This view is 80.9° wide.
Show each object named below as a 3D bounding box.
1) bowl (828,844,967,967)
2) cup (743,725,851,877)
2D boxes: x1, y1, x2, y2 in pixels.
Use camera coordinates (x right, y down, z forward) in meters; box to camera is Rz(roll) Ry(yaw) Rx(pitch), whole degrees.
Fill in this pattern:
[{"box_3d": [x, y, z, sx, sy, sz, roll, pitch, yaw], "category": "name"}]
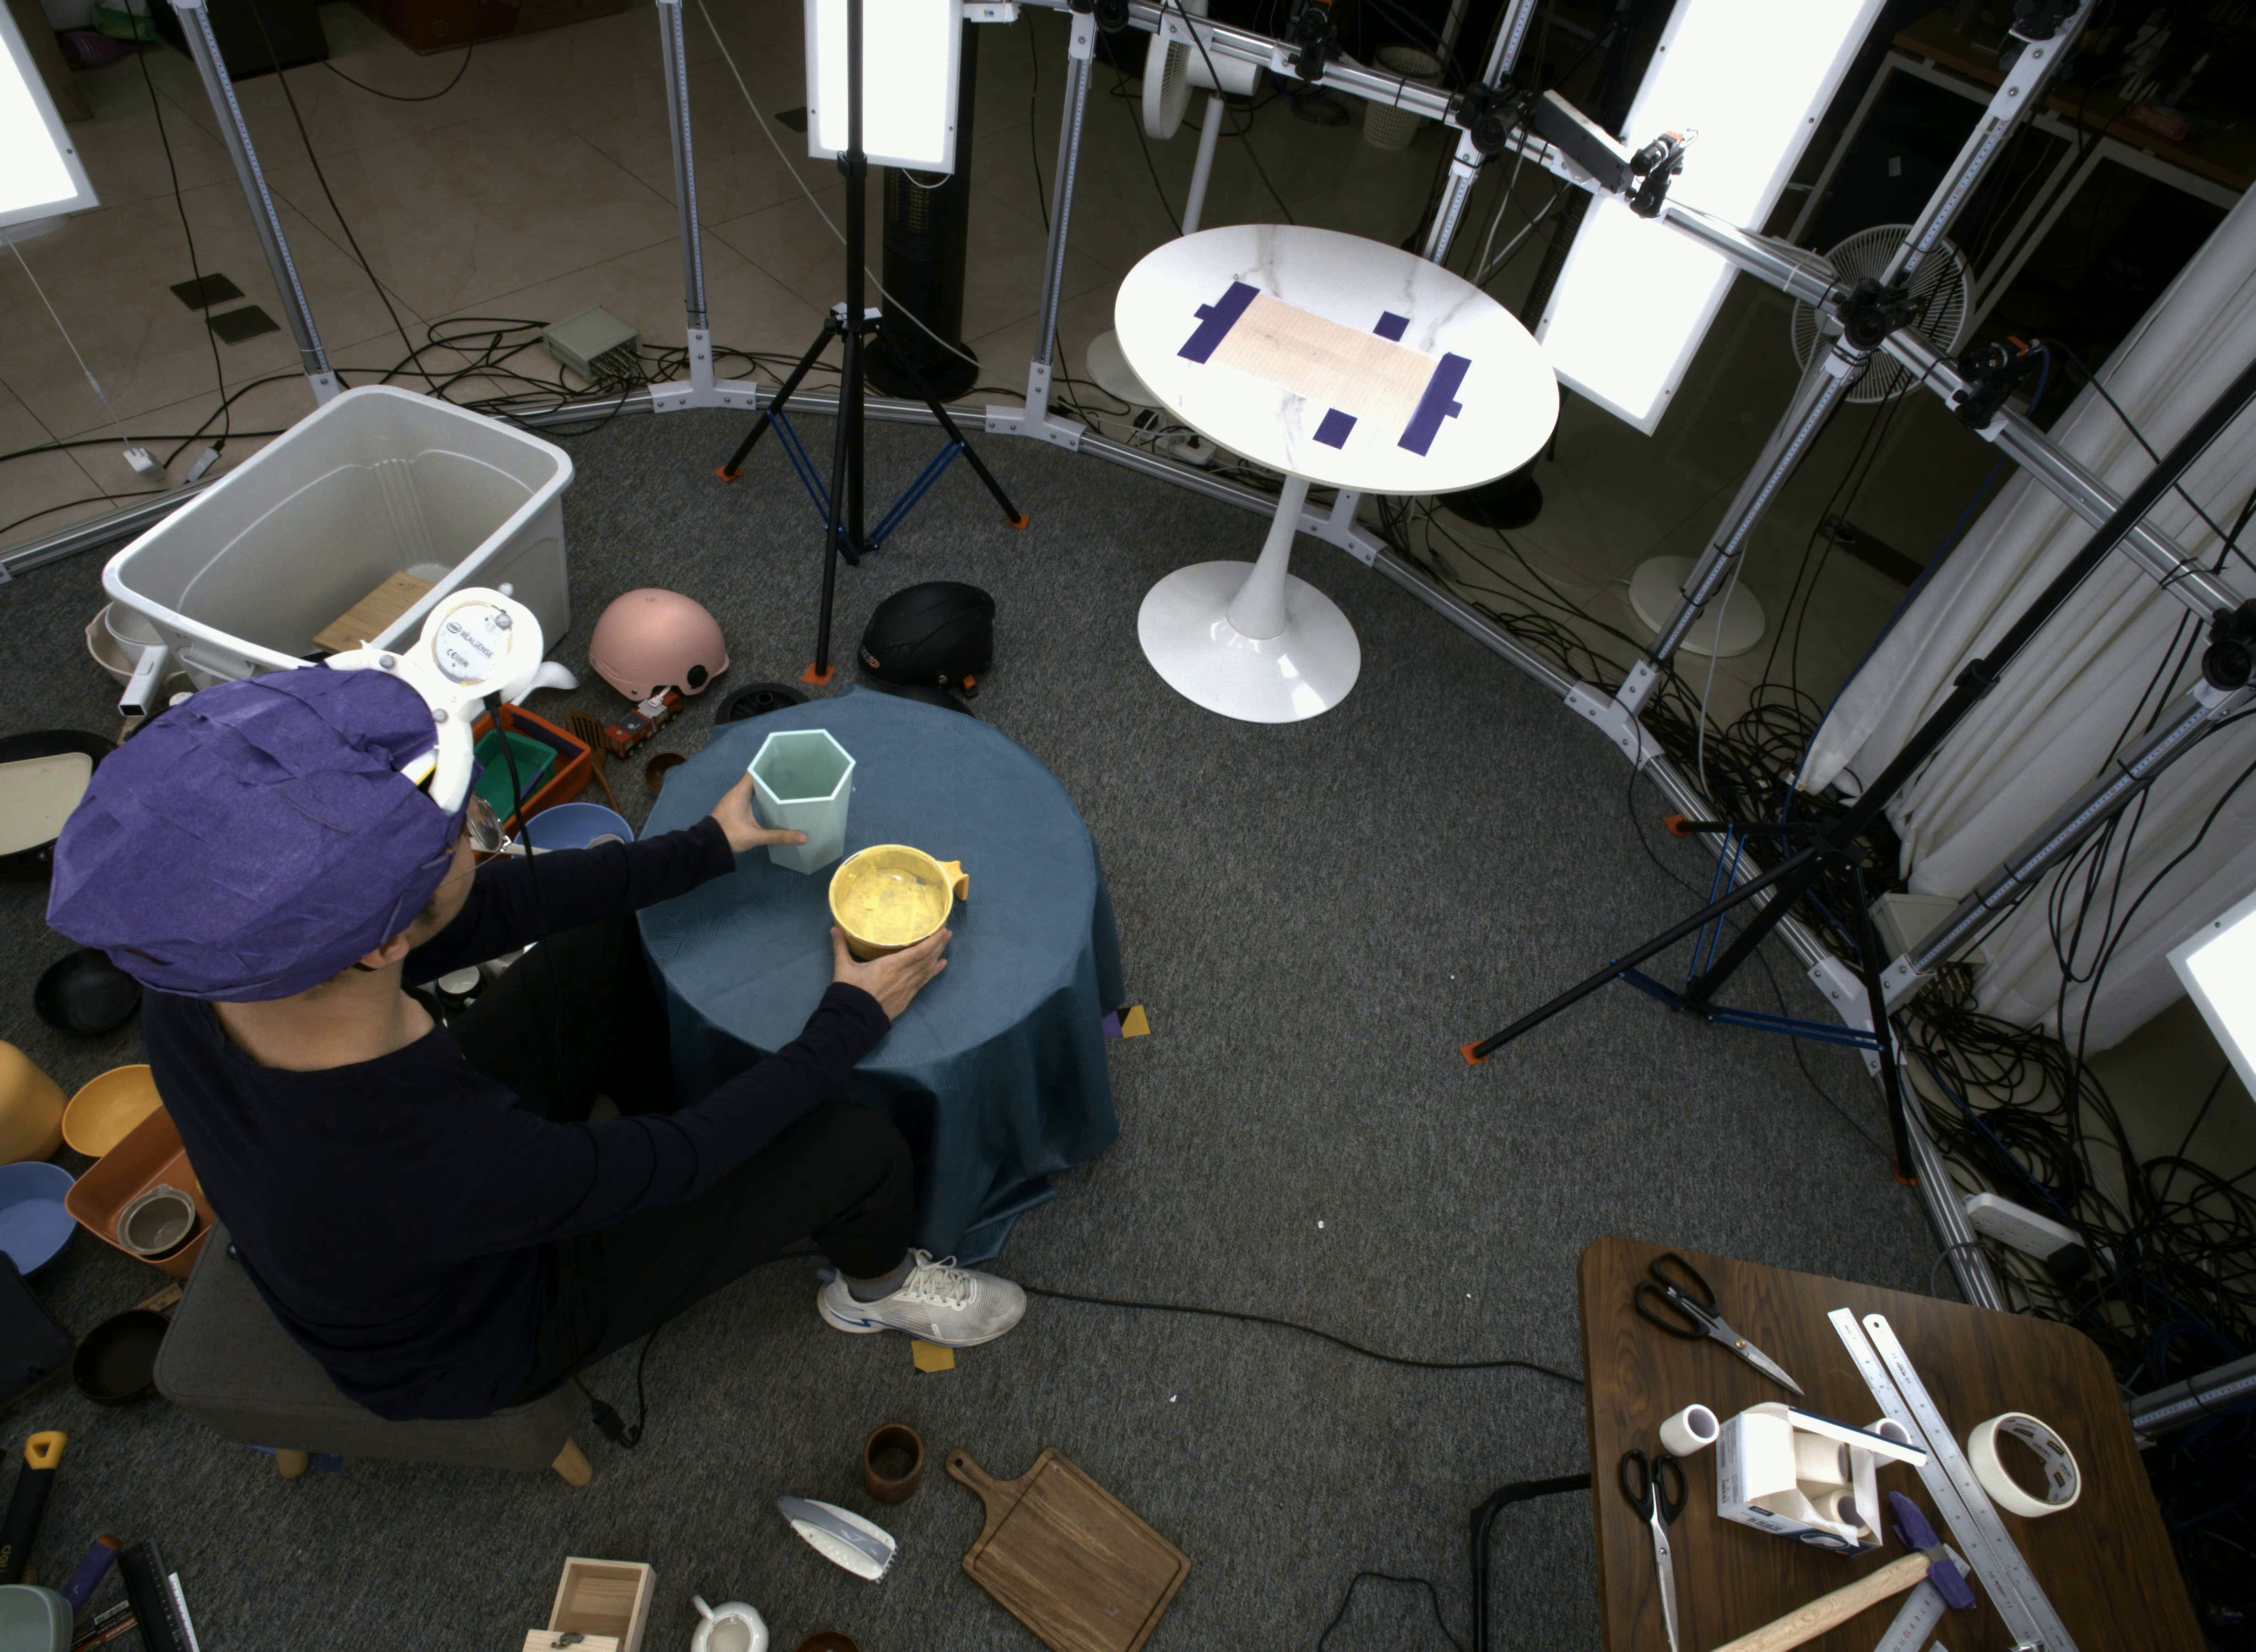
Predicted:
[{"box_3d": [-0.287, 0.099, 1.644, 0.180, 0.076, 0.149, -27, 64, -26], "category": "bowl"}, {"box_3d": [-0.412, -0.028, 1.644, 0.128, 0.167, 0.115, 39, 57, 20], "category": "cup"}]
